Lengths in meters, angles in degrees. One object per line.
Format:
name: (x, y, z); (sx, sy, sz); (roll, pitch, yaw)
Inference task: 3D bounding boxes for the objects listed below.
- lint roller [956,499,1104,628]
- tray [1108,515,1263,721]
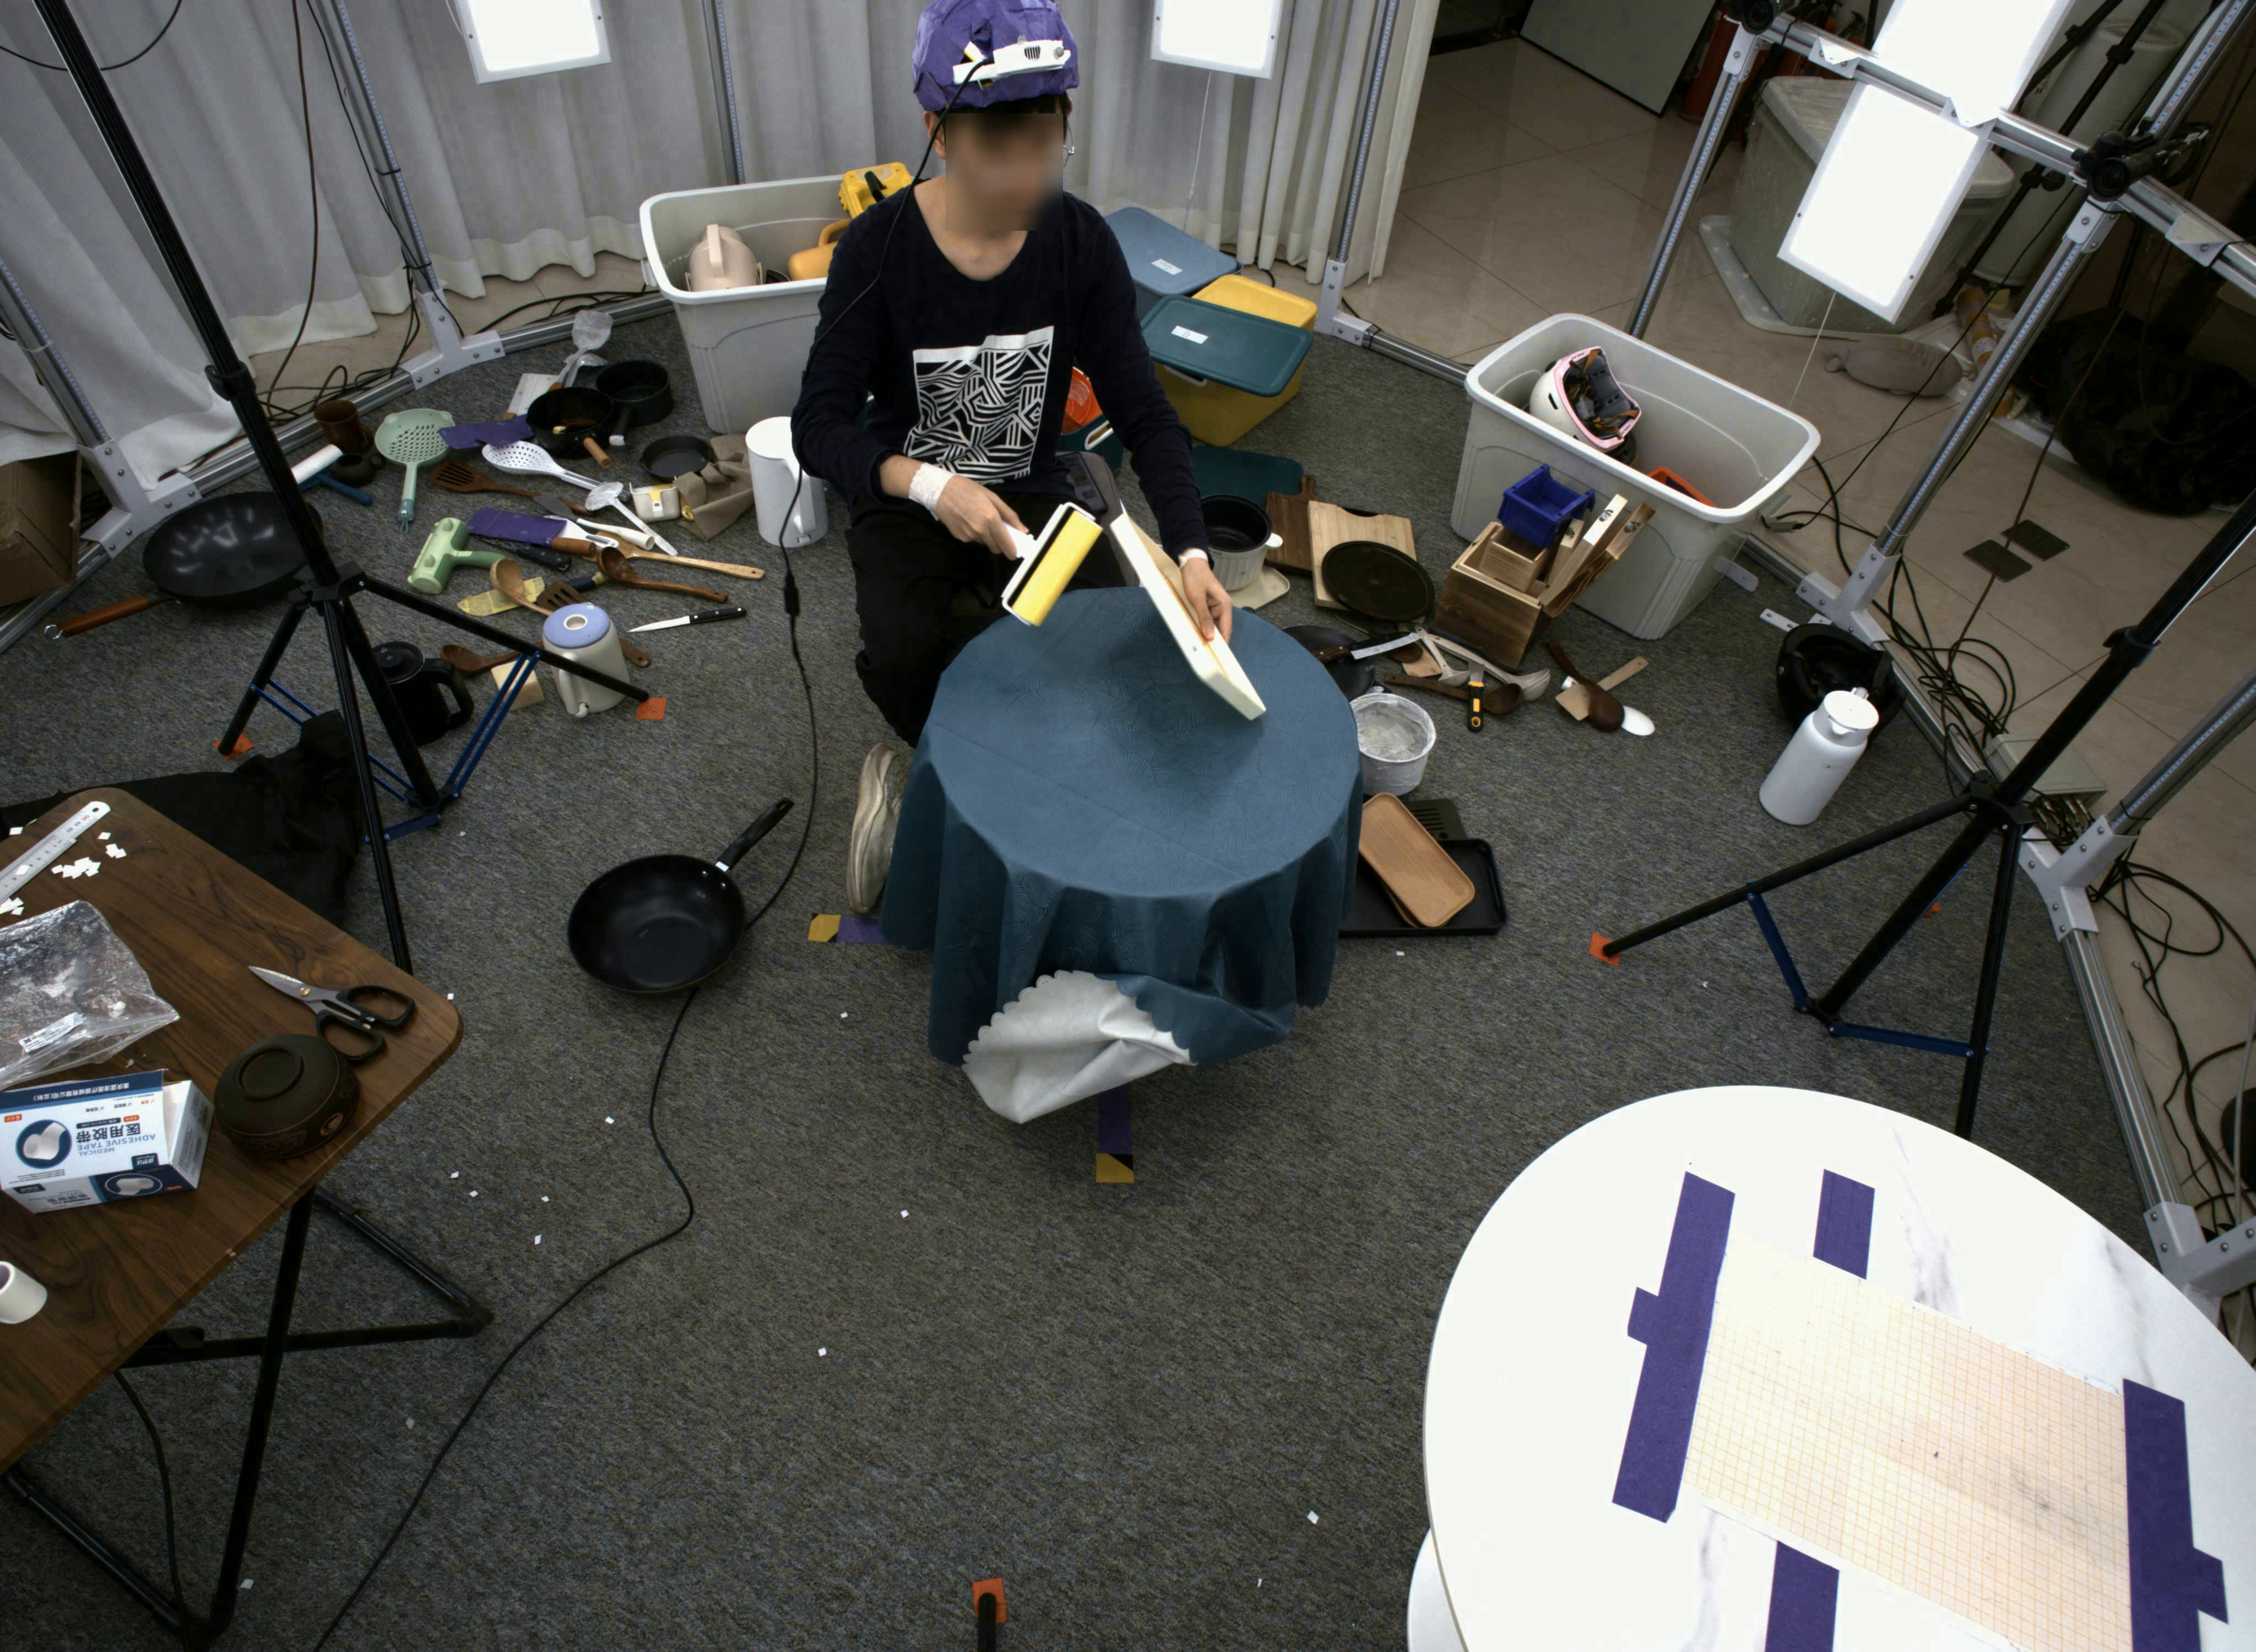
lint roller: (-0.155, -0.393, 1.783); (0.191, 0.173, 0.052); (32, 10, -4)
tray: (0.080, -0.290, 1.796); (0.027, 0.189, 0.306); (-36, 60, 17)
